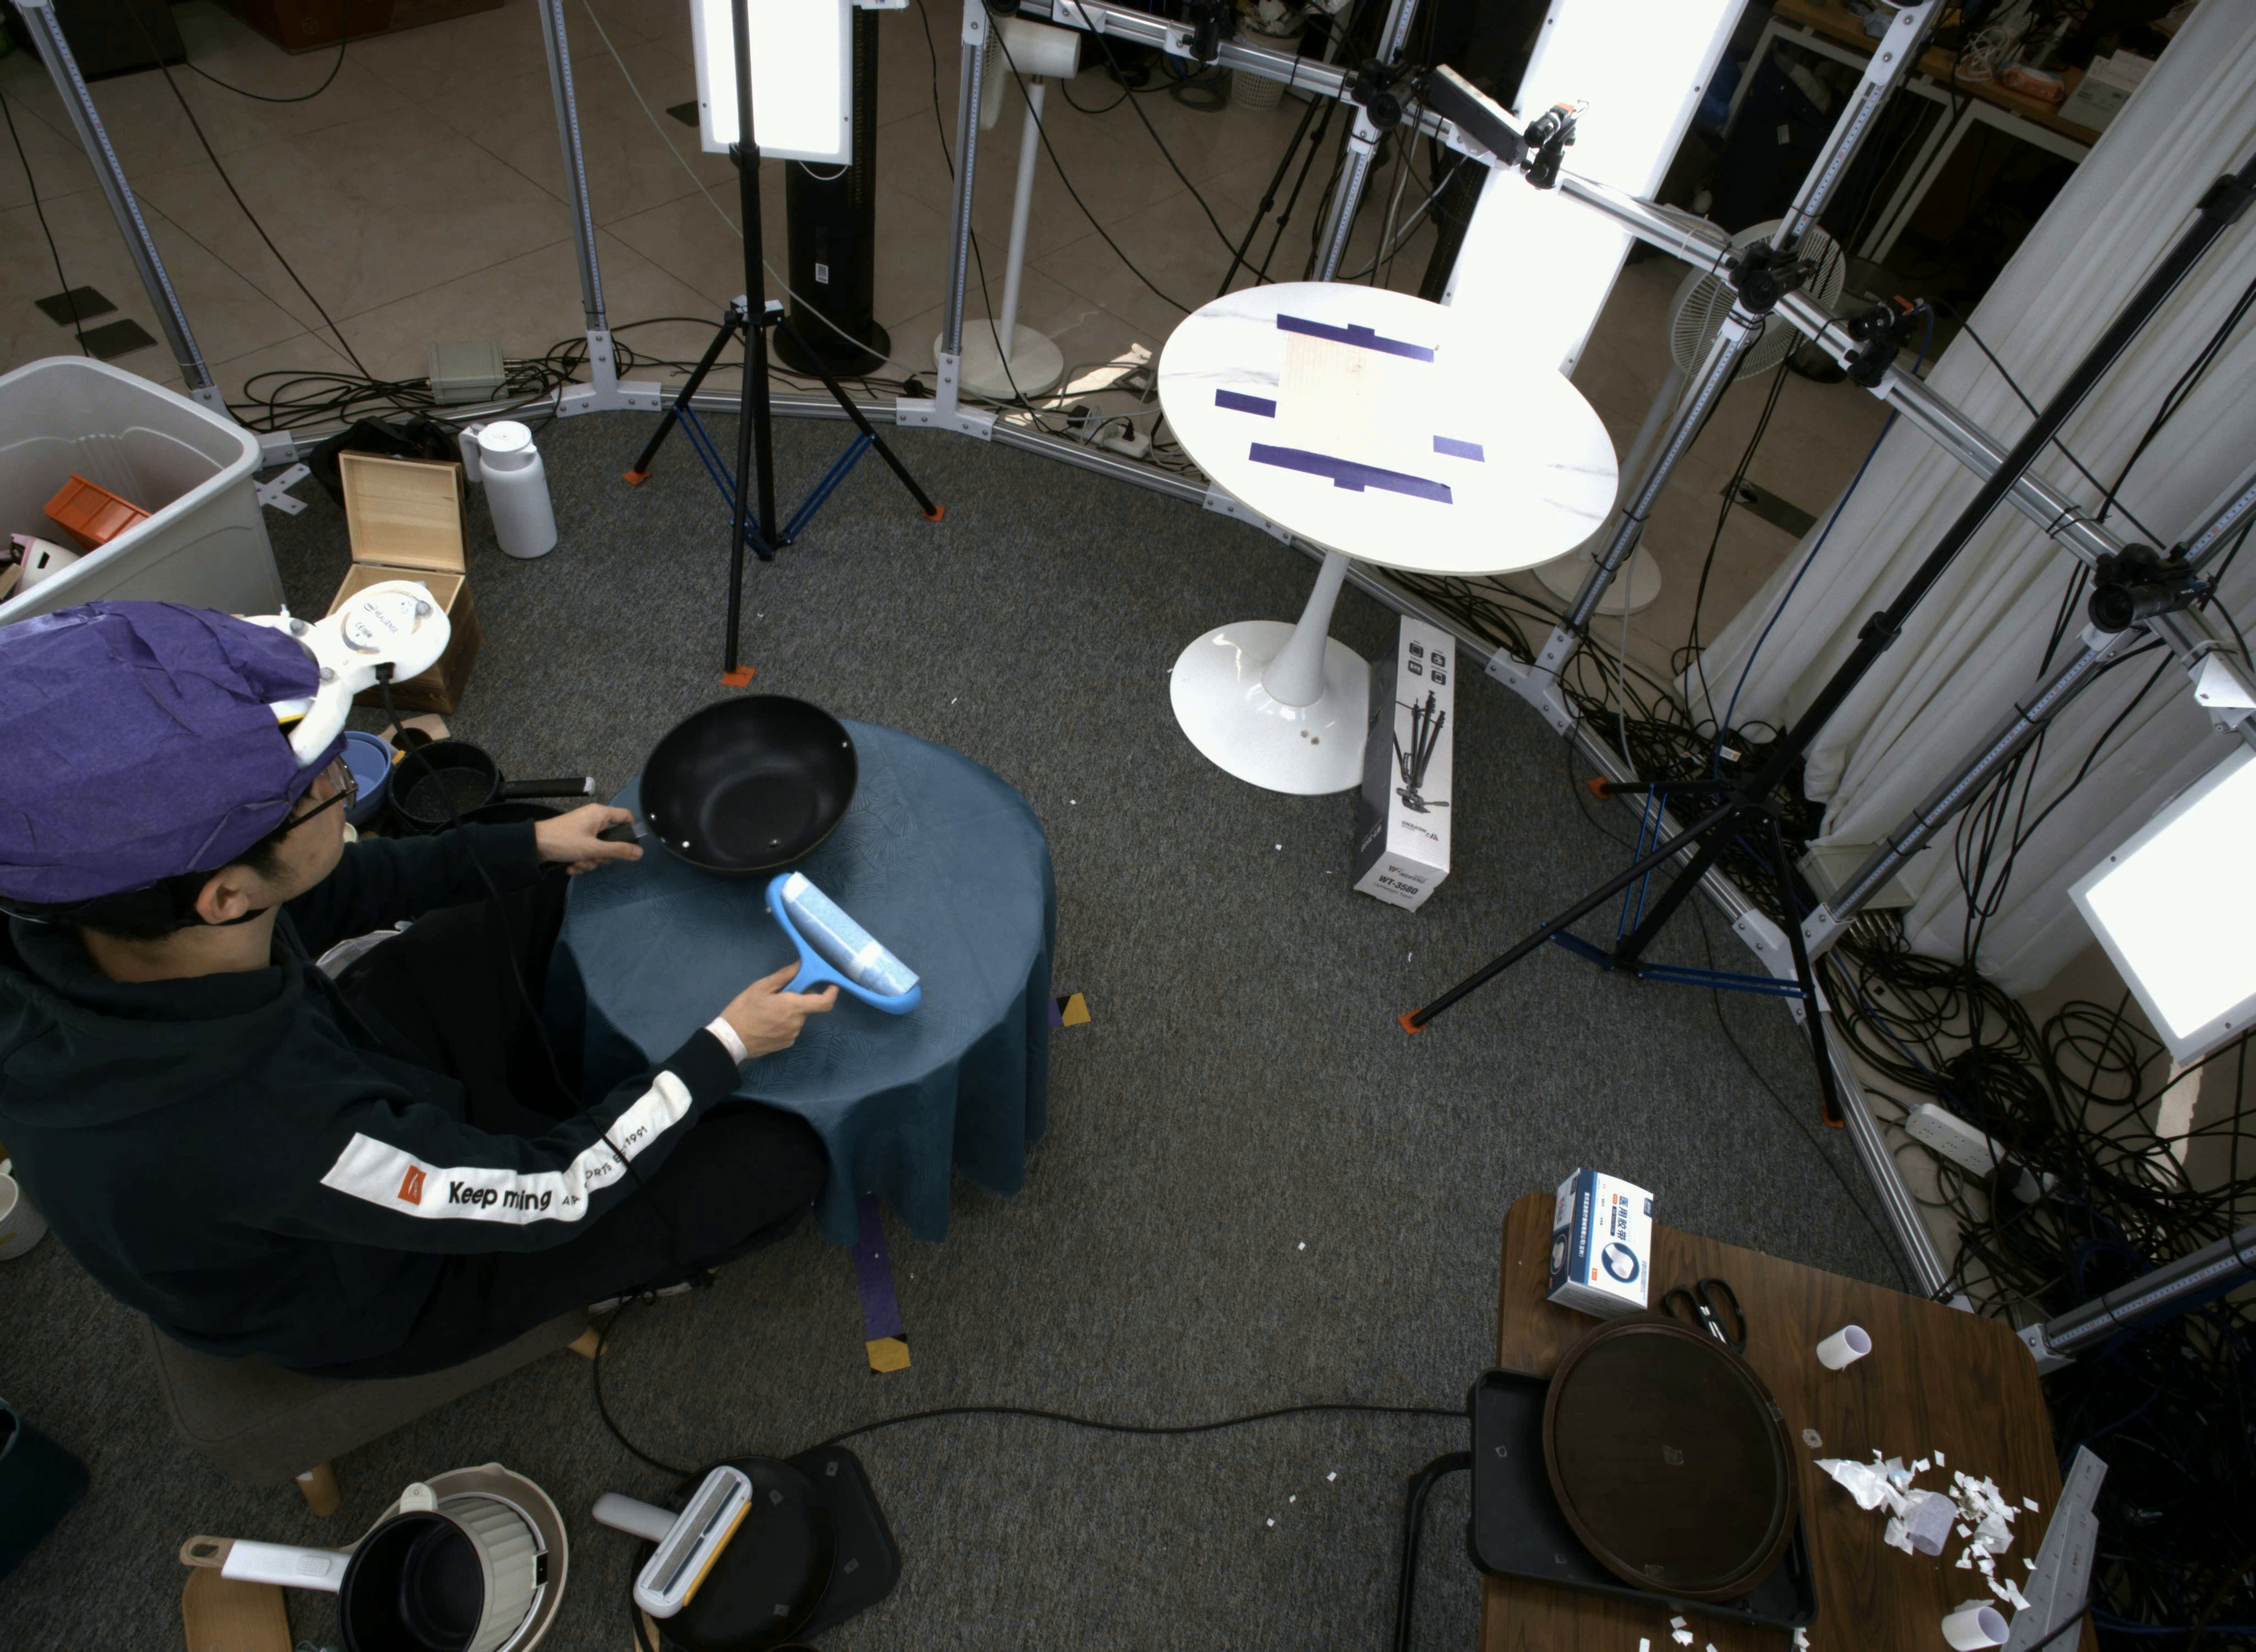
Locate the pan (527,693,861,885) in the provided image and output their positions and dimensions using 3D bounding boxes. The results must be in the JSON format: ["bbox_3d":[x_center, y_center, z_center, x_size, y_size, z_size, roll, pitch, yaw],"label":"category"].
[{"bbox_3d":[-0.559,-0.004,1.649,0.463,0.089,0.280,-24,60,-18],"label":"pan"}]

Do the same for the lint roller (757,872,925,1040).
[{"bbox_3d":[-0.368,0.175,1.533,0.230,0.068,0.180,40,58,-5],"label":"lint roller"}]
